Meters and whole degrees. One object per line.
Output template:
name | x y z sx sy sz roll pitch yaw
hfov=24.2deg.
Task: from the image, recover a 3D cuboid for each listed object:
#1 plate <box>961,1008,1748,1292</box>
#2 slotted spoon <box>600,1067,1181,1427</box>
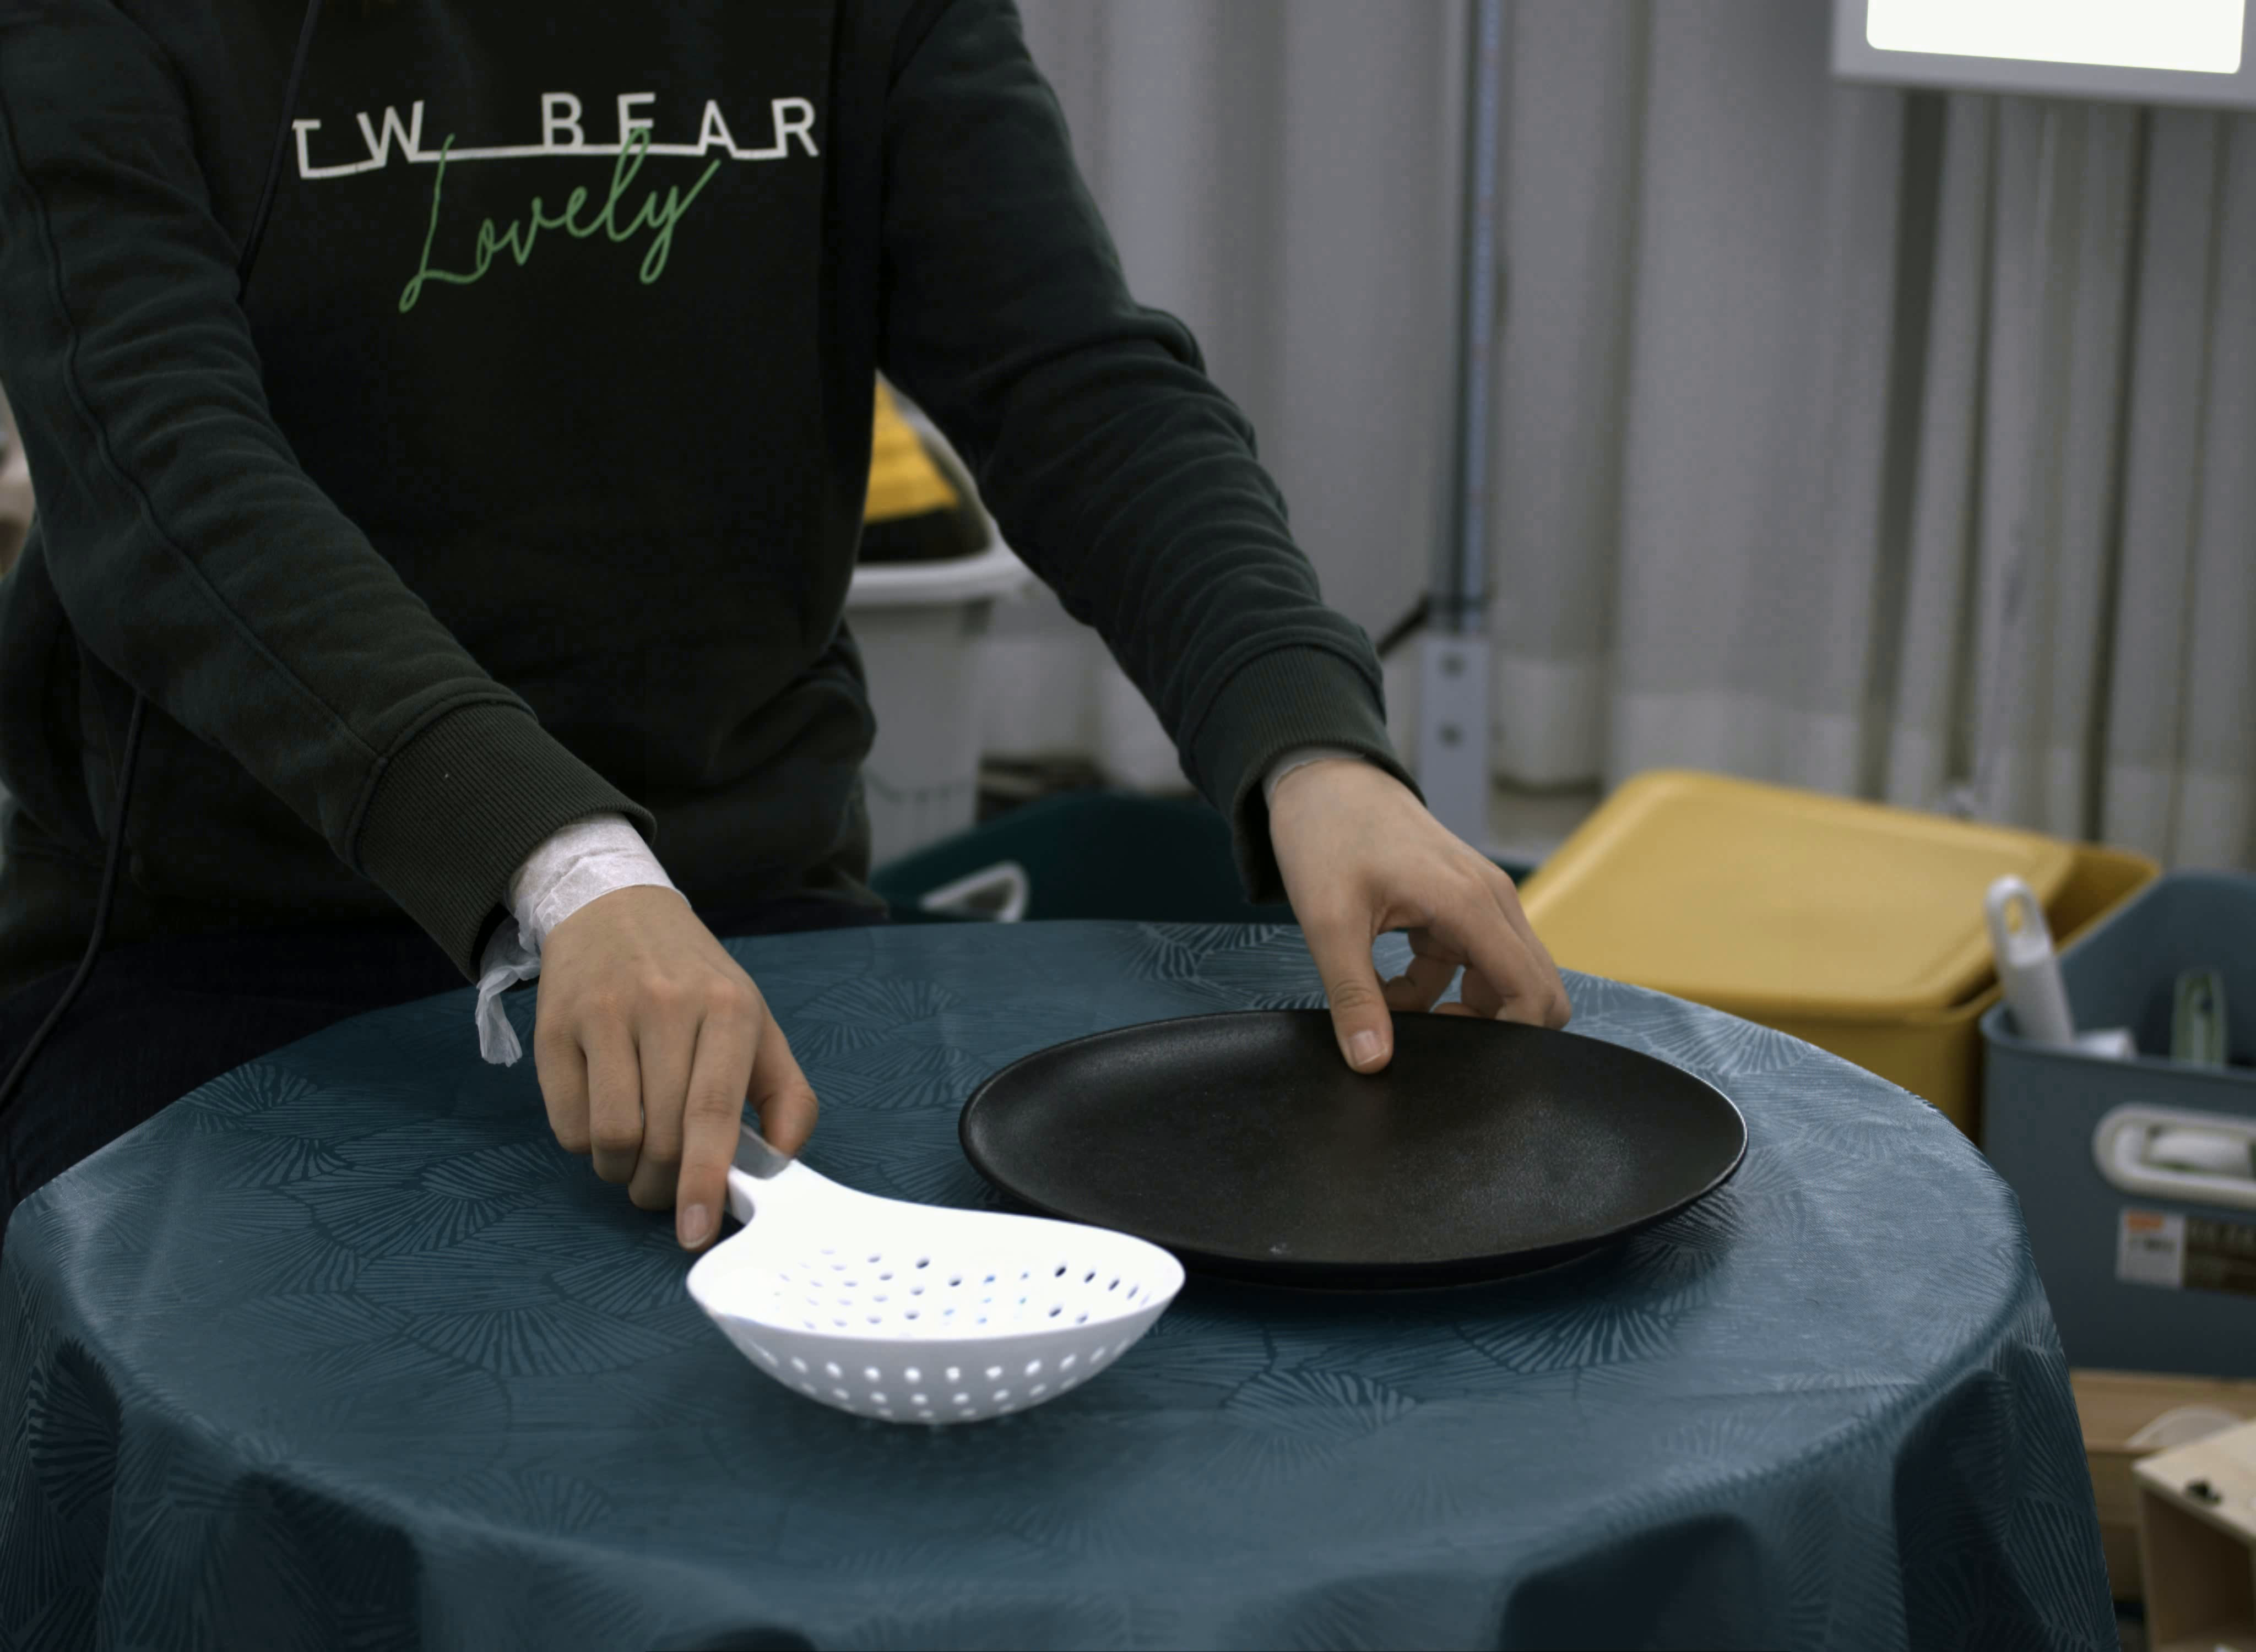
plate | 0.069 0.102 1.624 0.243 0.023 0.243 1 16 0
slotted spoon | -0.094 0.113 1.537 0.136 0.046 0.346 -3 15 -22
